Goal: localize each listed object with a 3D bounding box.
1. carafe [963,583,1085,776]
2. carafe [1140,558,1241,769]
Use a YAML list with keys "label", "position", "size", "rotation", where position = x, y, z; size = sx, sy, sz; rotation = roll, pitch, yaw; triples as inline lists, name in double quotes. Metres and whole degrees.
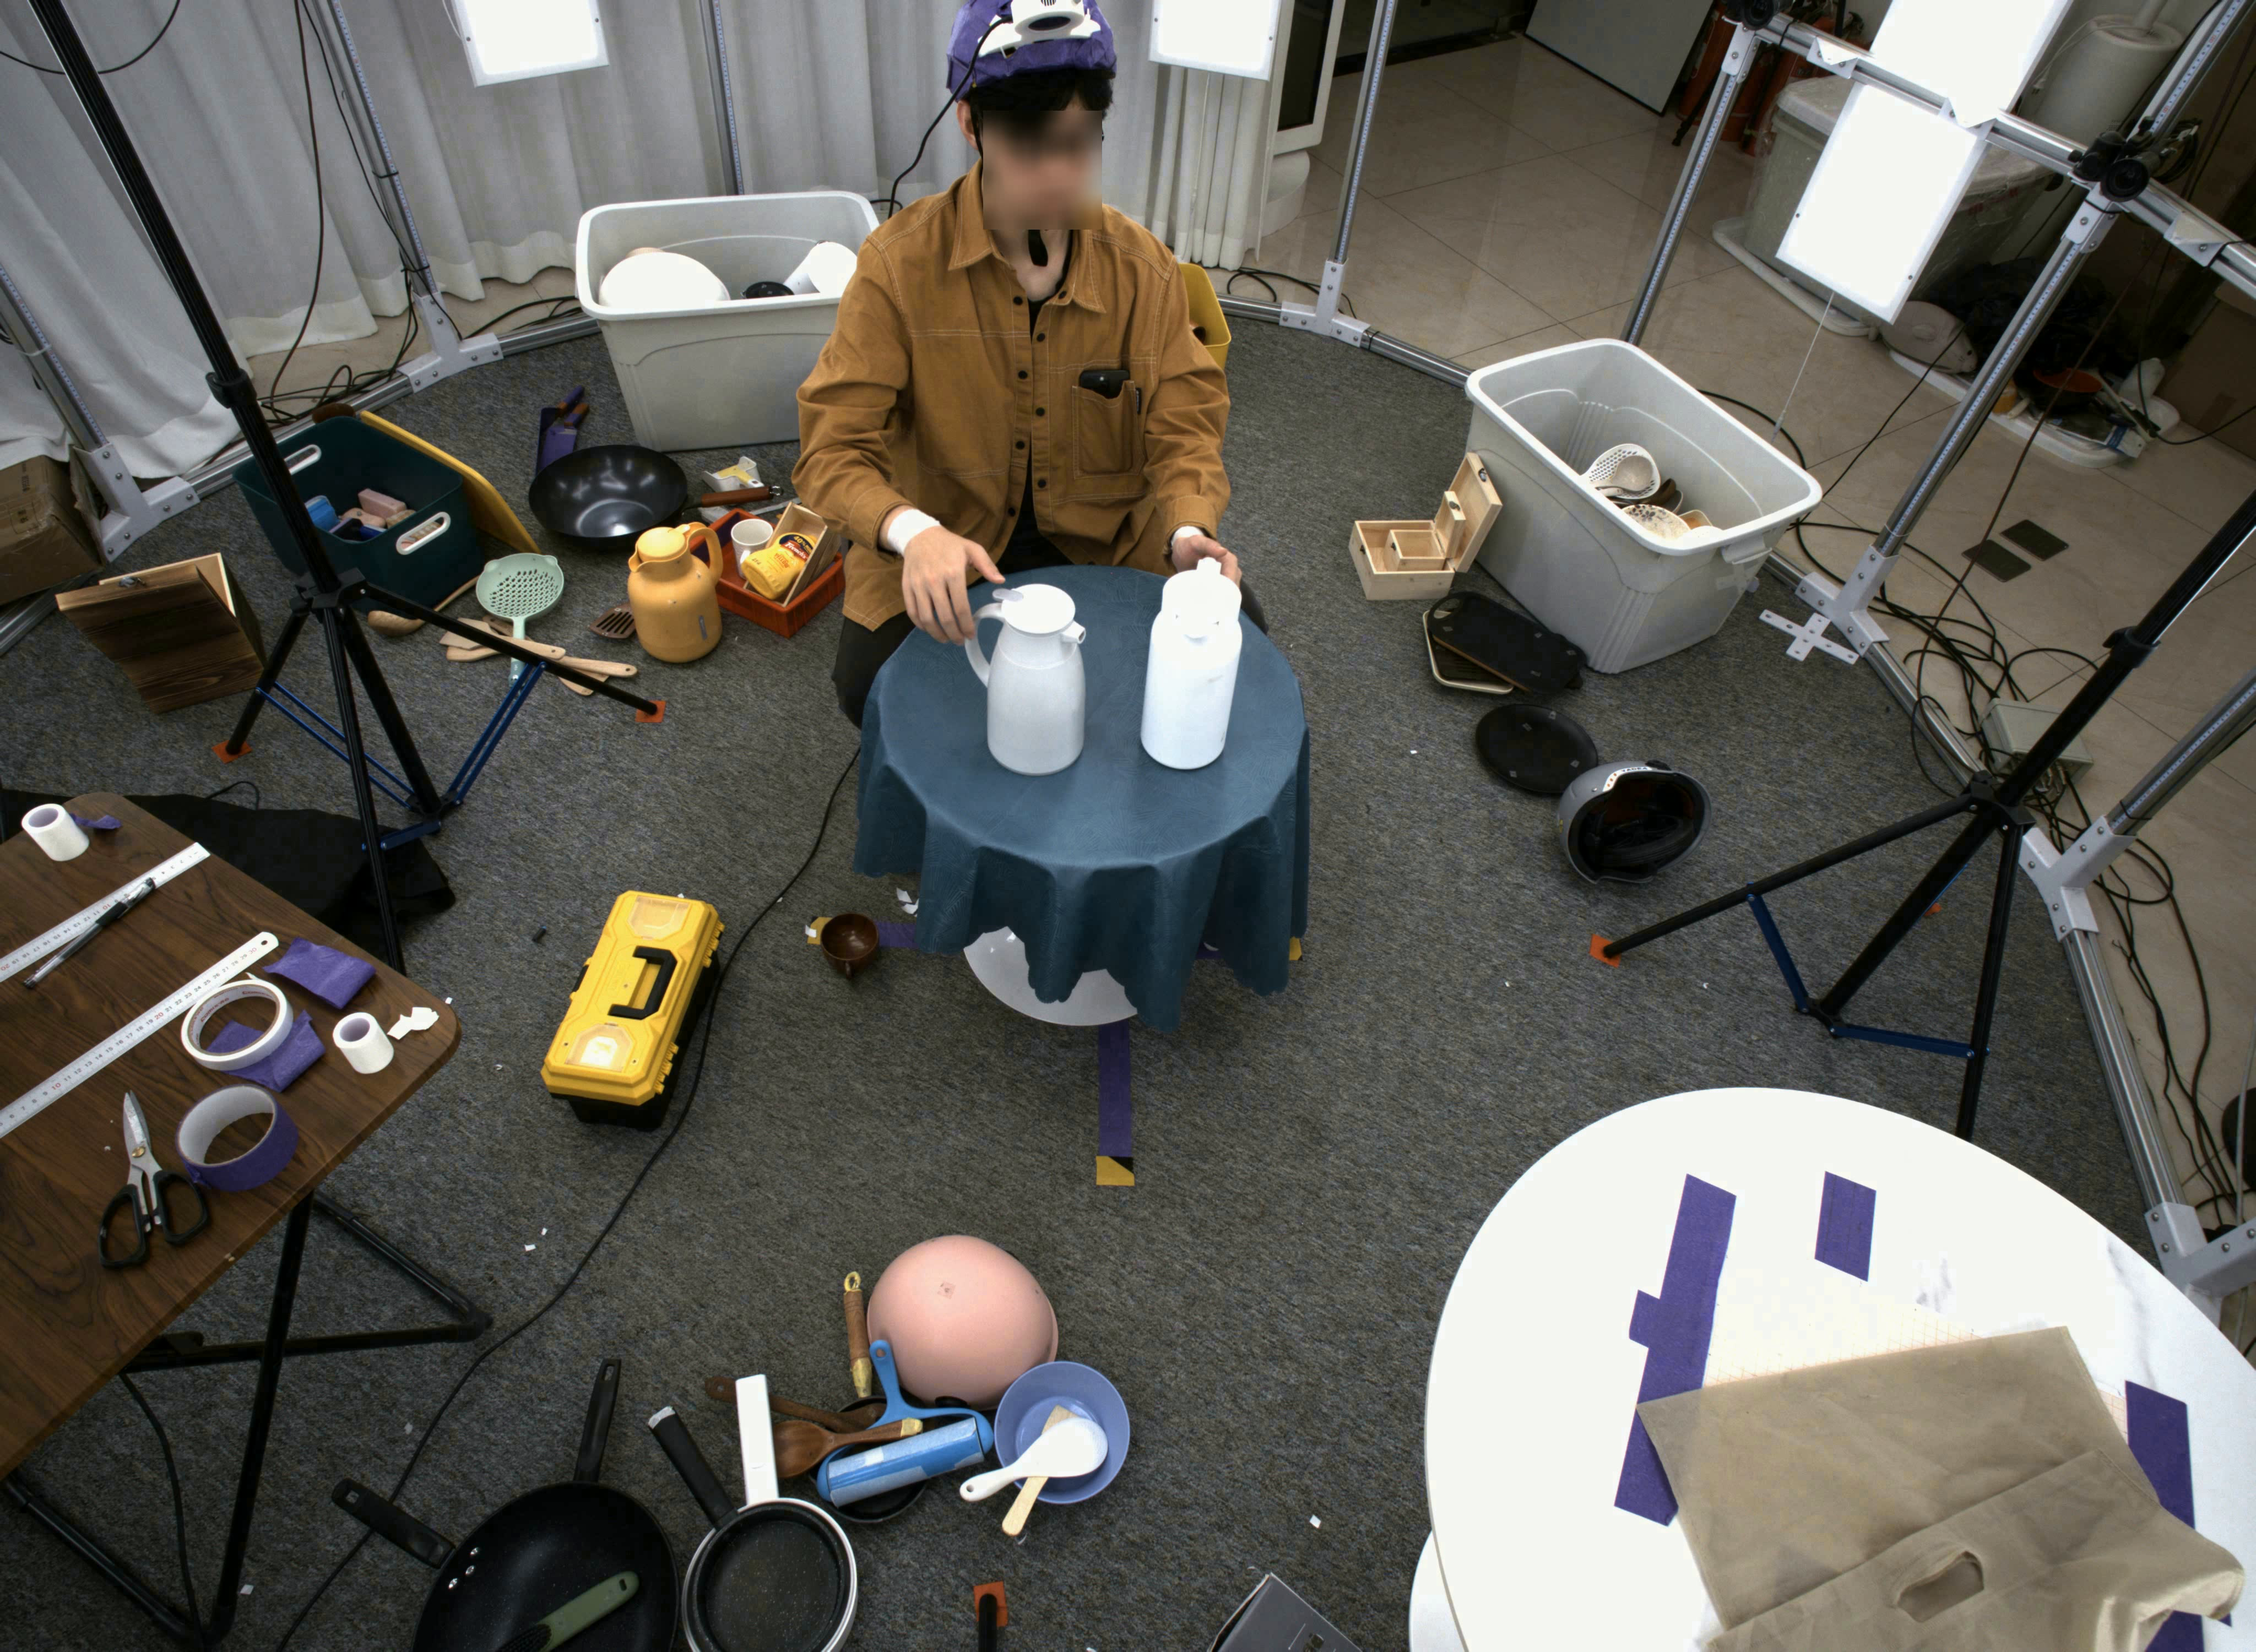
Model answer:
- label: "carafe"
  position: [-0.138, -0.202, 1.676]
  size: [0.169, 0.242, 0.135]
  rotation: [21, 51, 15]
- label: "carafe"
  position: [0.084, -0.215, 1.689]
  size: [0.124, 0.262, 0.177]
  rotation: [8, 49, 5]
